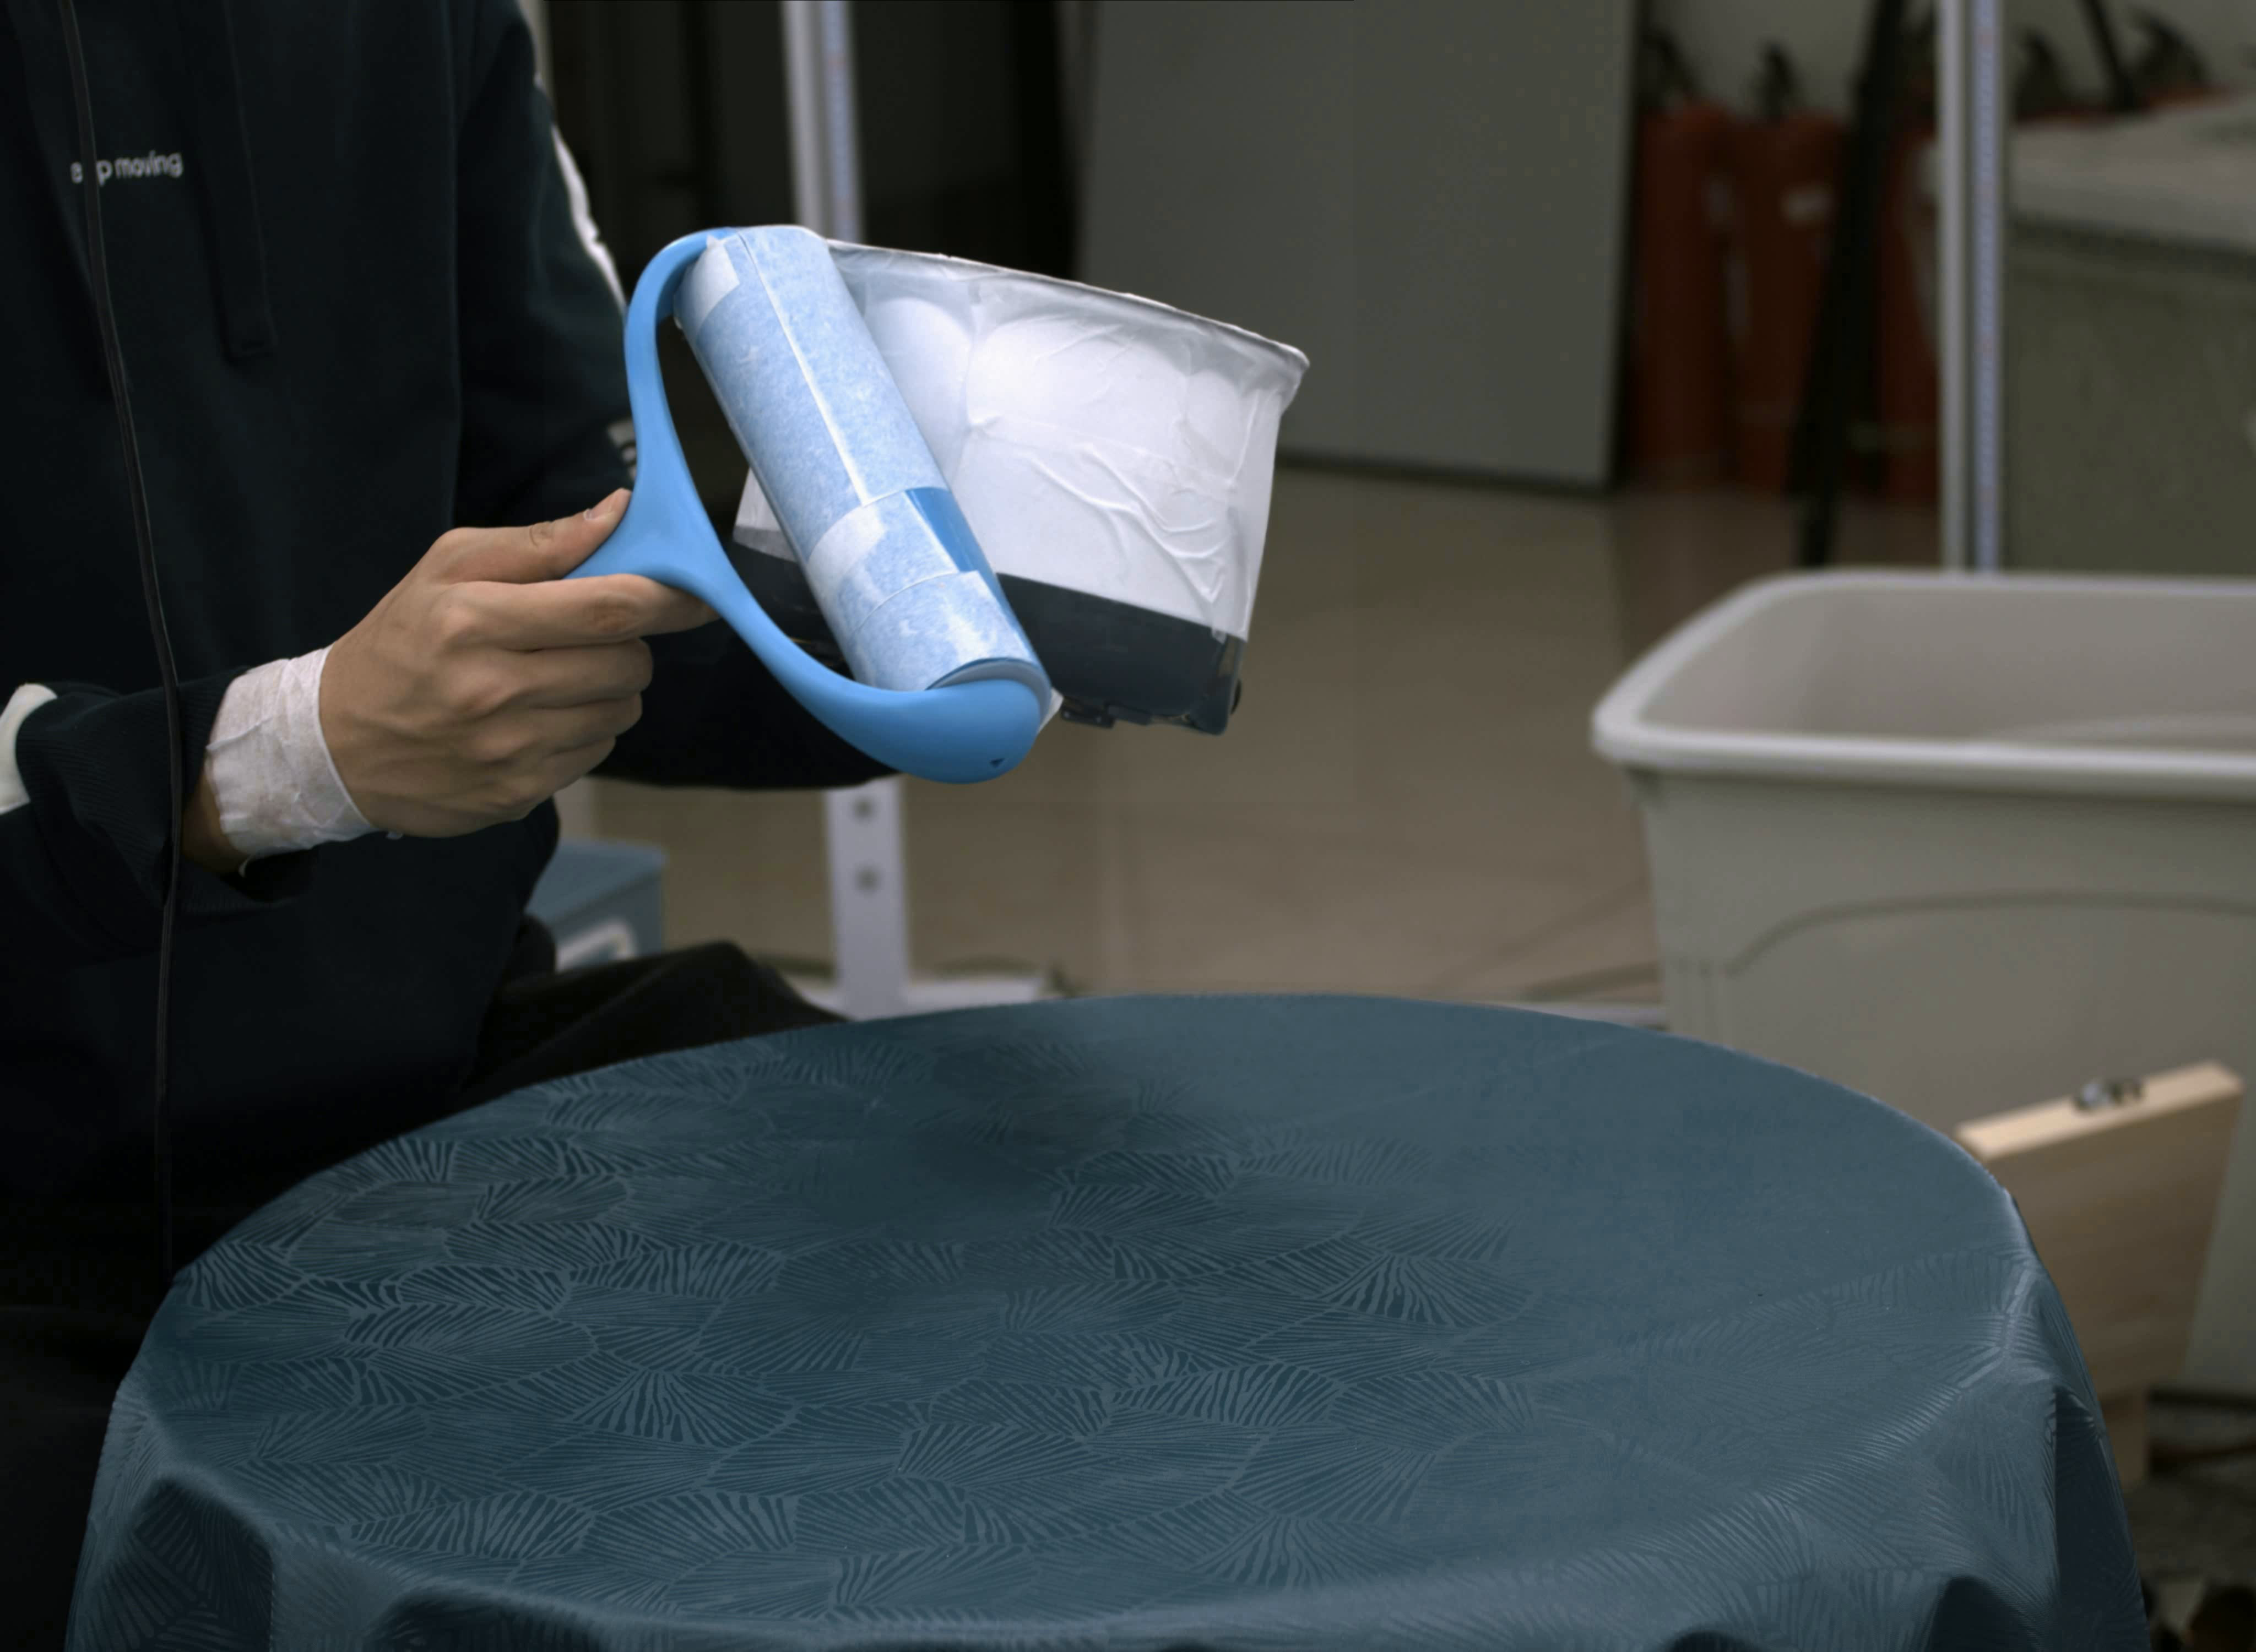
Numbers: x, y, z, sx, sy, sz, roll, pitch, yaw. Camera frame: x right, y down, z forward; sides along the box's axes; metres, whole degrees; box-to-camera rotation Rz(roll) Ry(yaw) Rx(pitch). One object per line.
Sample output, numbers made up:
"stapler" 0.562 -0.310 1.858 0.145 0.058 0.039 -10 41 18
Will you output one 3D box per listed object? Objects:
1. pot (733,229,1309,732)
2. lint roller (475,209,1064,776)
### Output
"pot" -0.042 -0.114 1.822 0.176 0.138 0.234 12 -1 -8
"lint roller" -0.132 -0.078 1.680 0.179 0.067 0.232 -32 56 0
